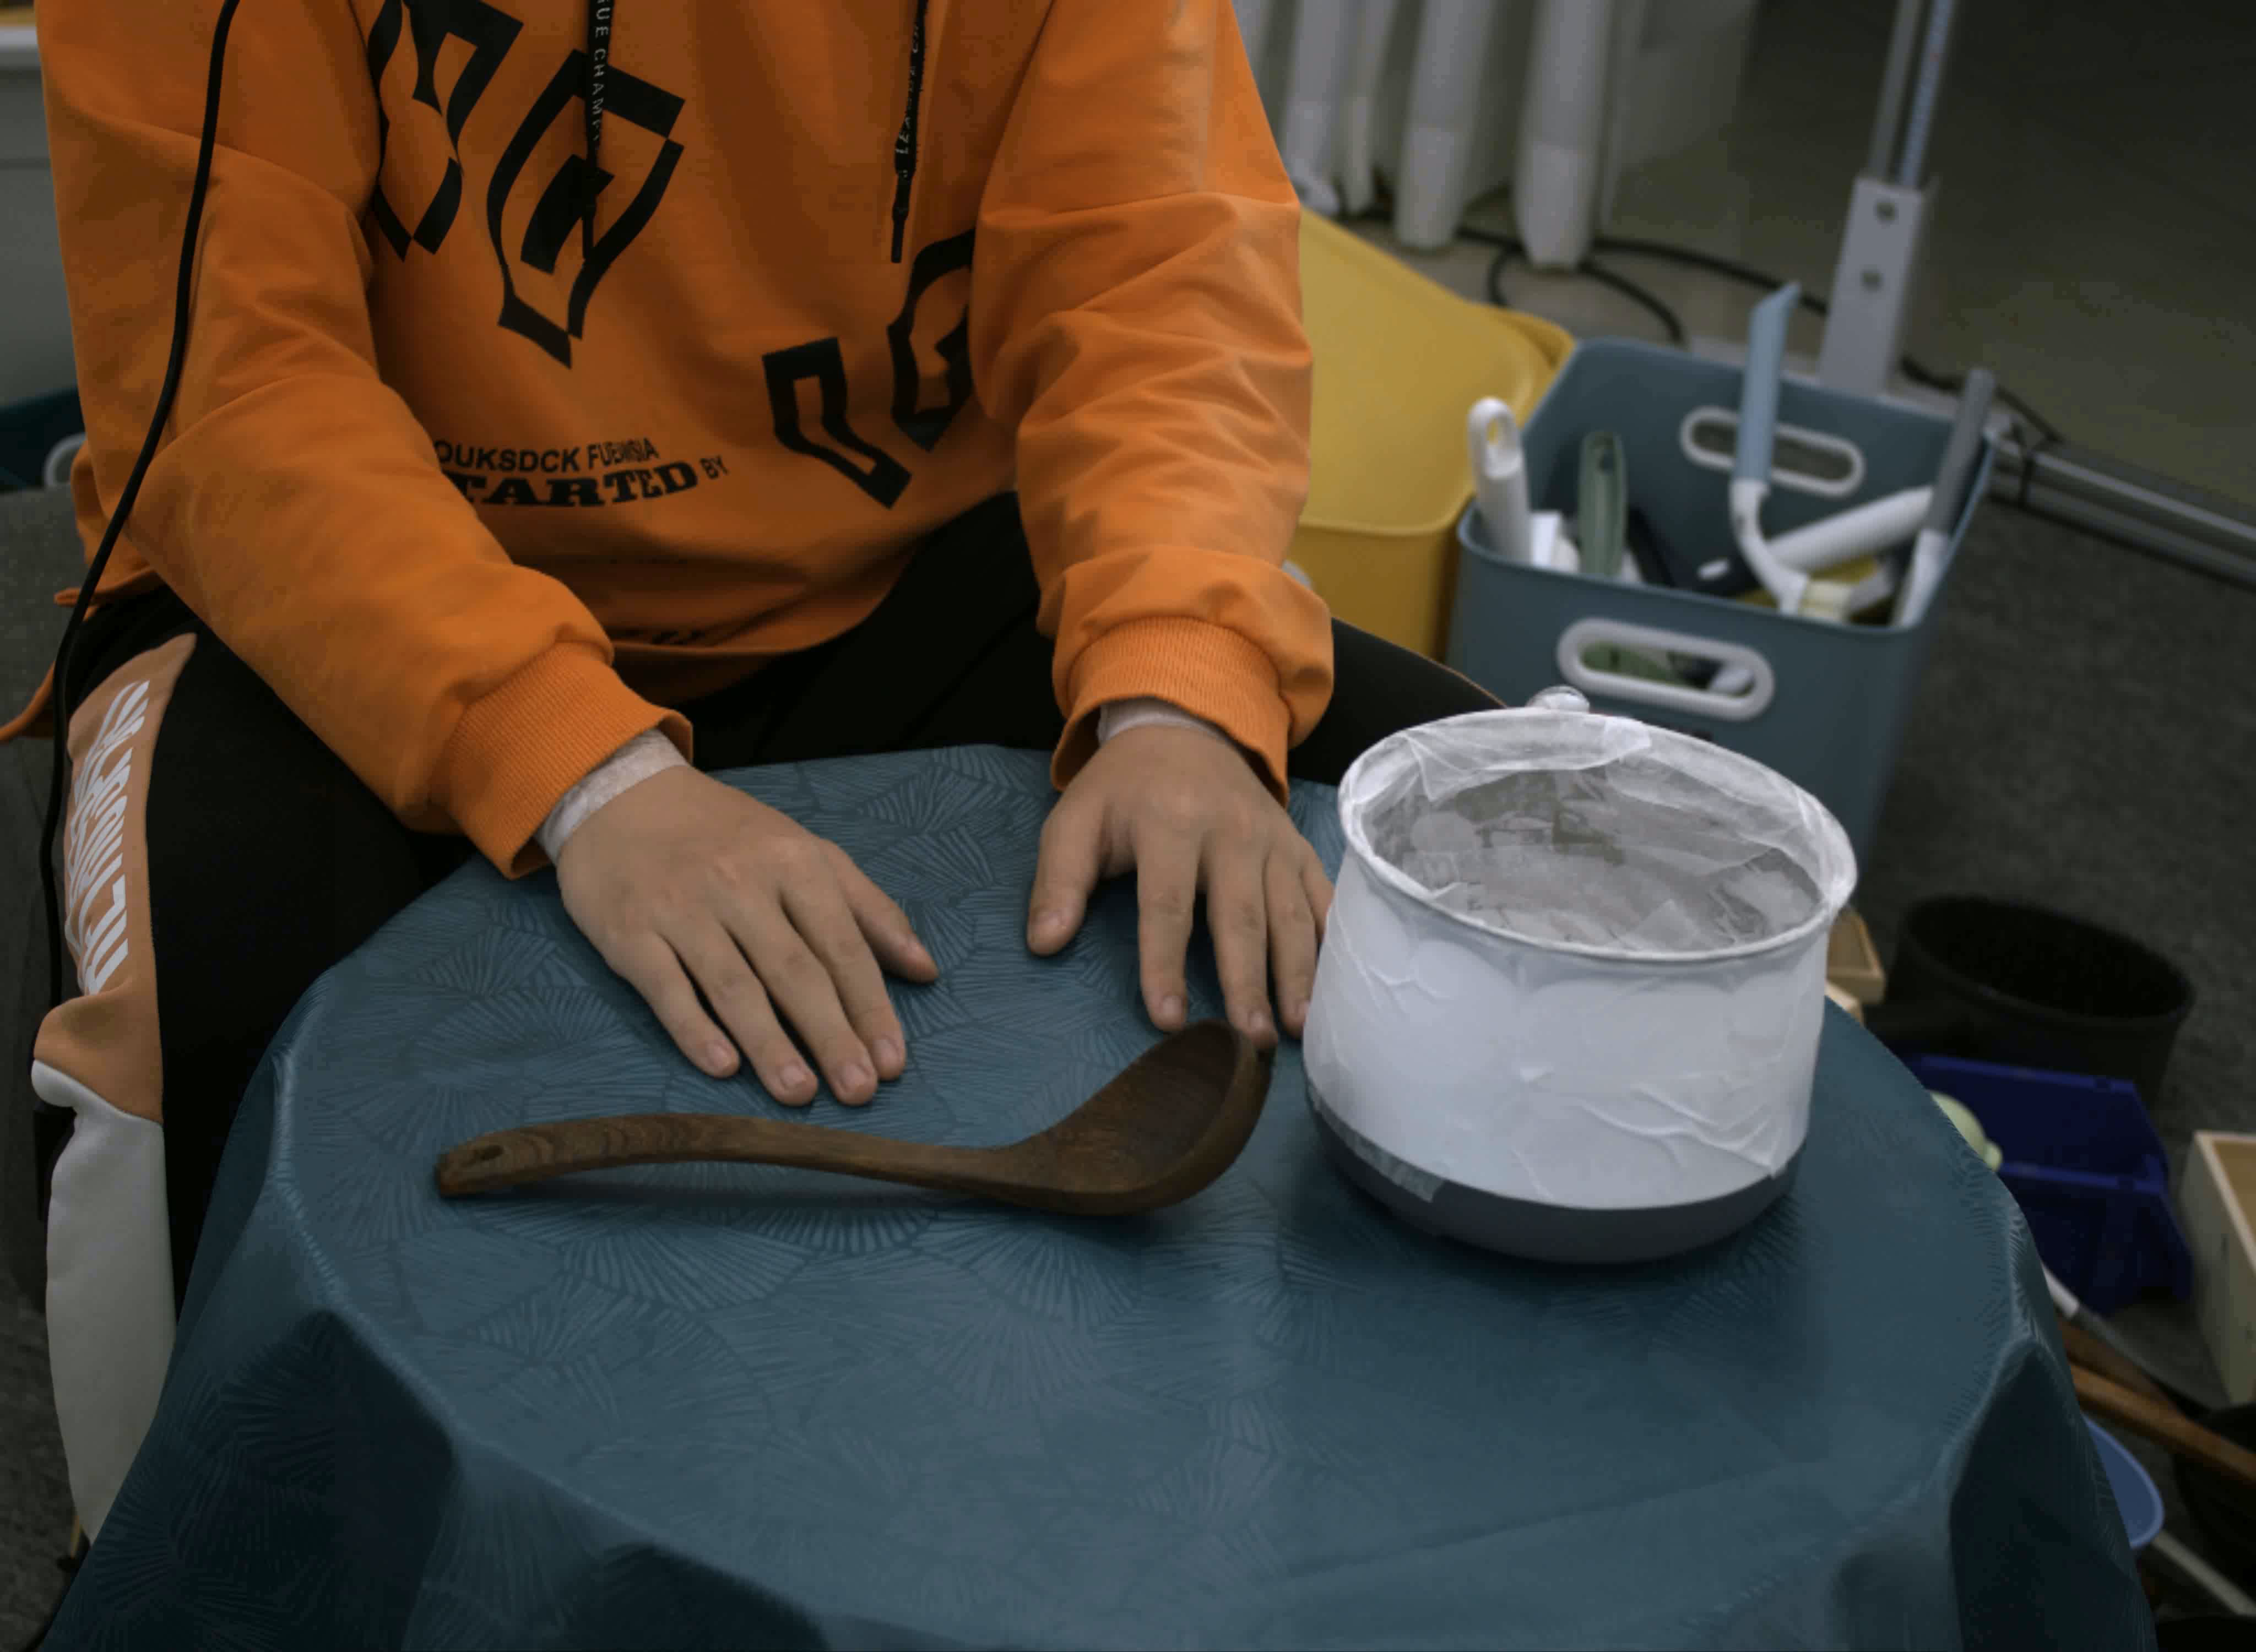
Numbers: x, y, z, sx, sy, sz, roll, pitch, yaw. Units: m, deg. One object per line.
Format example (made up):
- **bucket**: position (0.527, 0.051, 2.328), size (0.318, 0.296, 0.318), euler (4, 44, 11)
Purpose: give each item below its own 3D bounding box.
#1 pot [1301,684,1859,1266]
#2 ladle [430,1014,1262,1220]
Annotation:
- **pot**: position (0.149, 0.044, 1.841), size (0.178, 0.136, 0.235), euler (4, 27, -6)
- **ladle**: position (-0.092, 0.093, 1.765), size (0.273, 0.071, 0.076), euler (3, 24, -9)
